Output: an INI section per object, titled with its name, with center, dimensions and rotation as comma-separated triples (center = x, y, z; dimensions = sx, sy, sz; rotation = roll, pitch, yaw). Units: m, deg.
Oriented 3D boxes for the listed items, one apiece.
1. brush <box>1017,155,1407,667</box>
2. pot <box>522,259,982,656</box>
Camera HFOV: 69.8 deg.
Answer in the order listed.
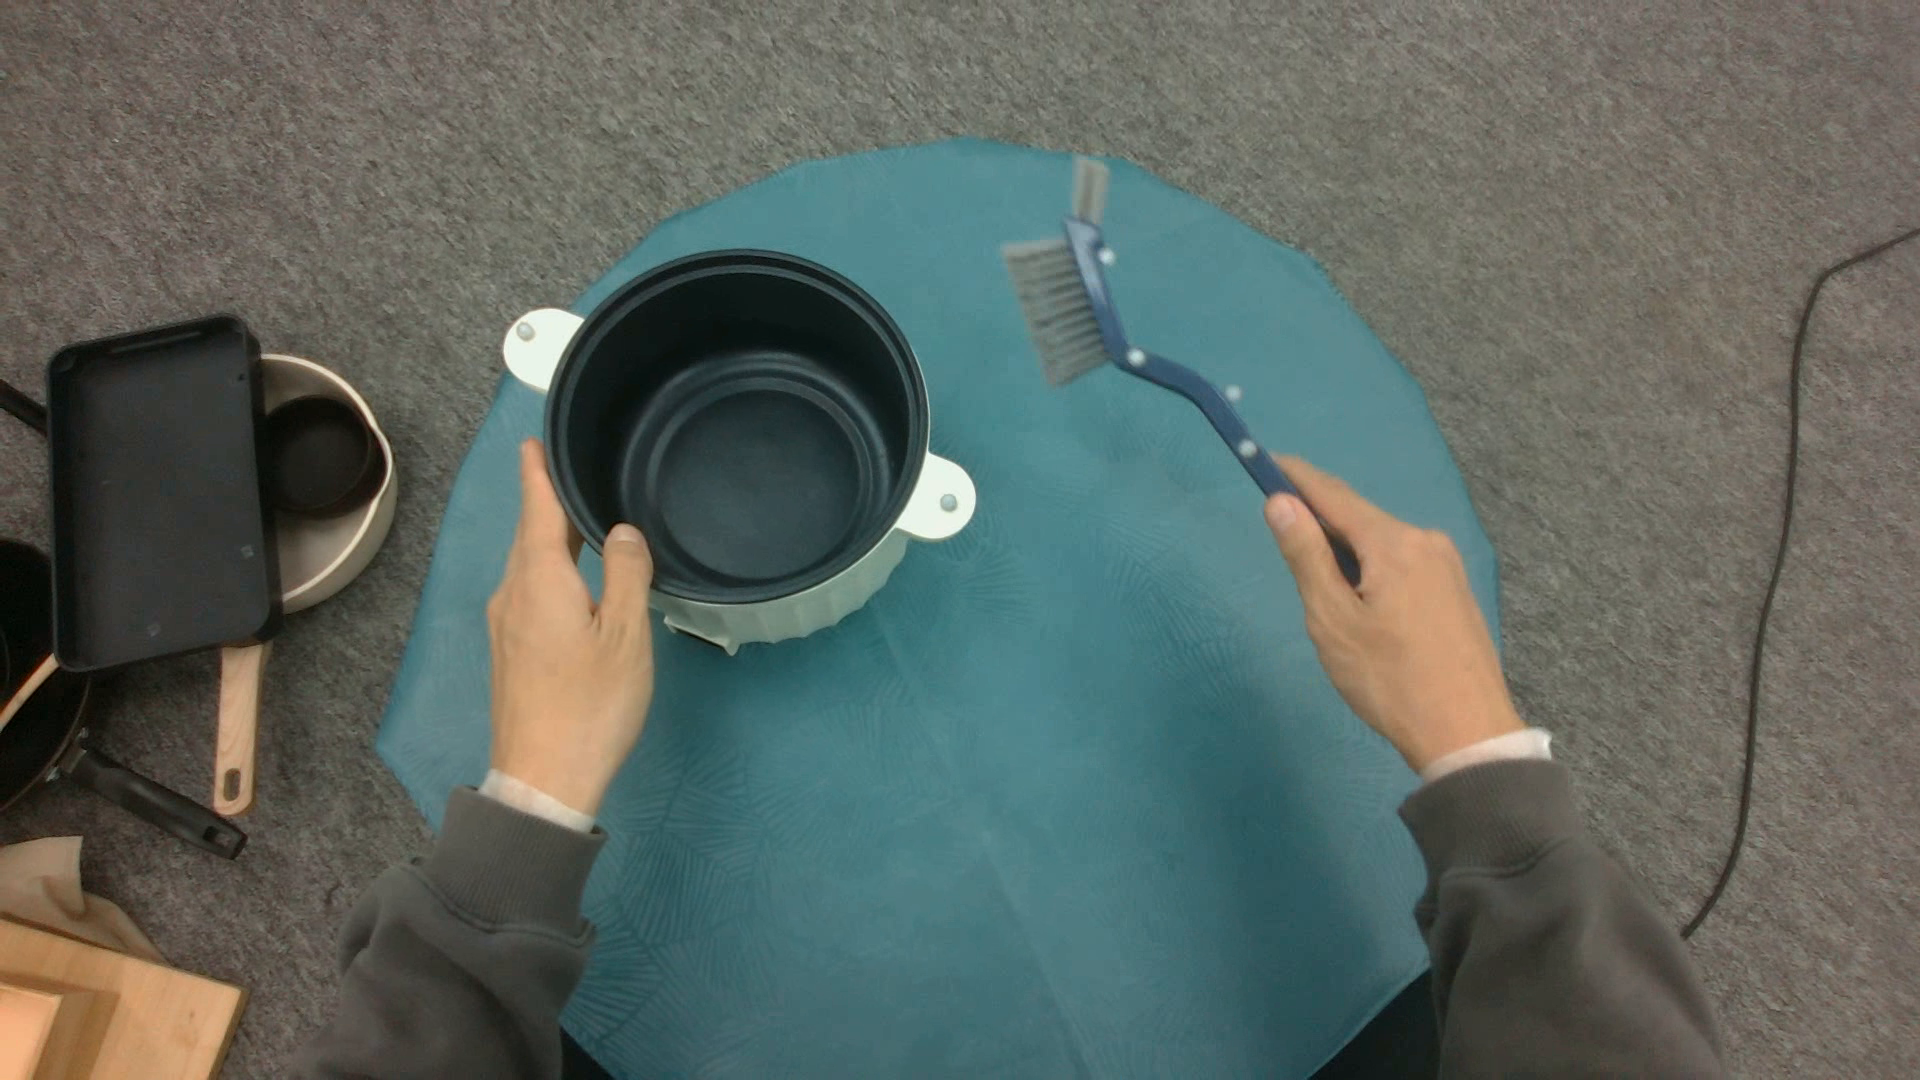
[brush]
center = 0.131, -0.059, 0.654
dimensions = 0.095, 0.033, 0.273
rotation = -45, 82, 5
[pot]
center = -0.102, -0.042, 0.731
dimensions = 0.240, 0.142, 0.191
rotation = 21, 77, 4
